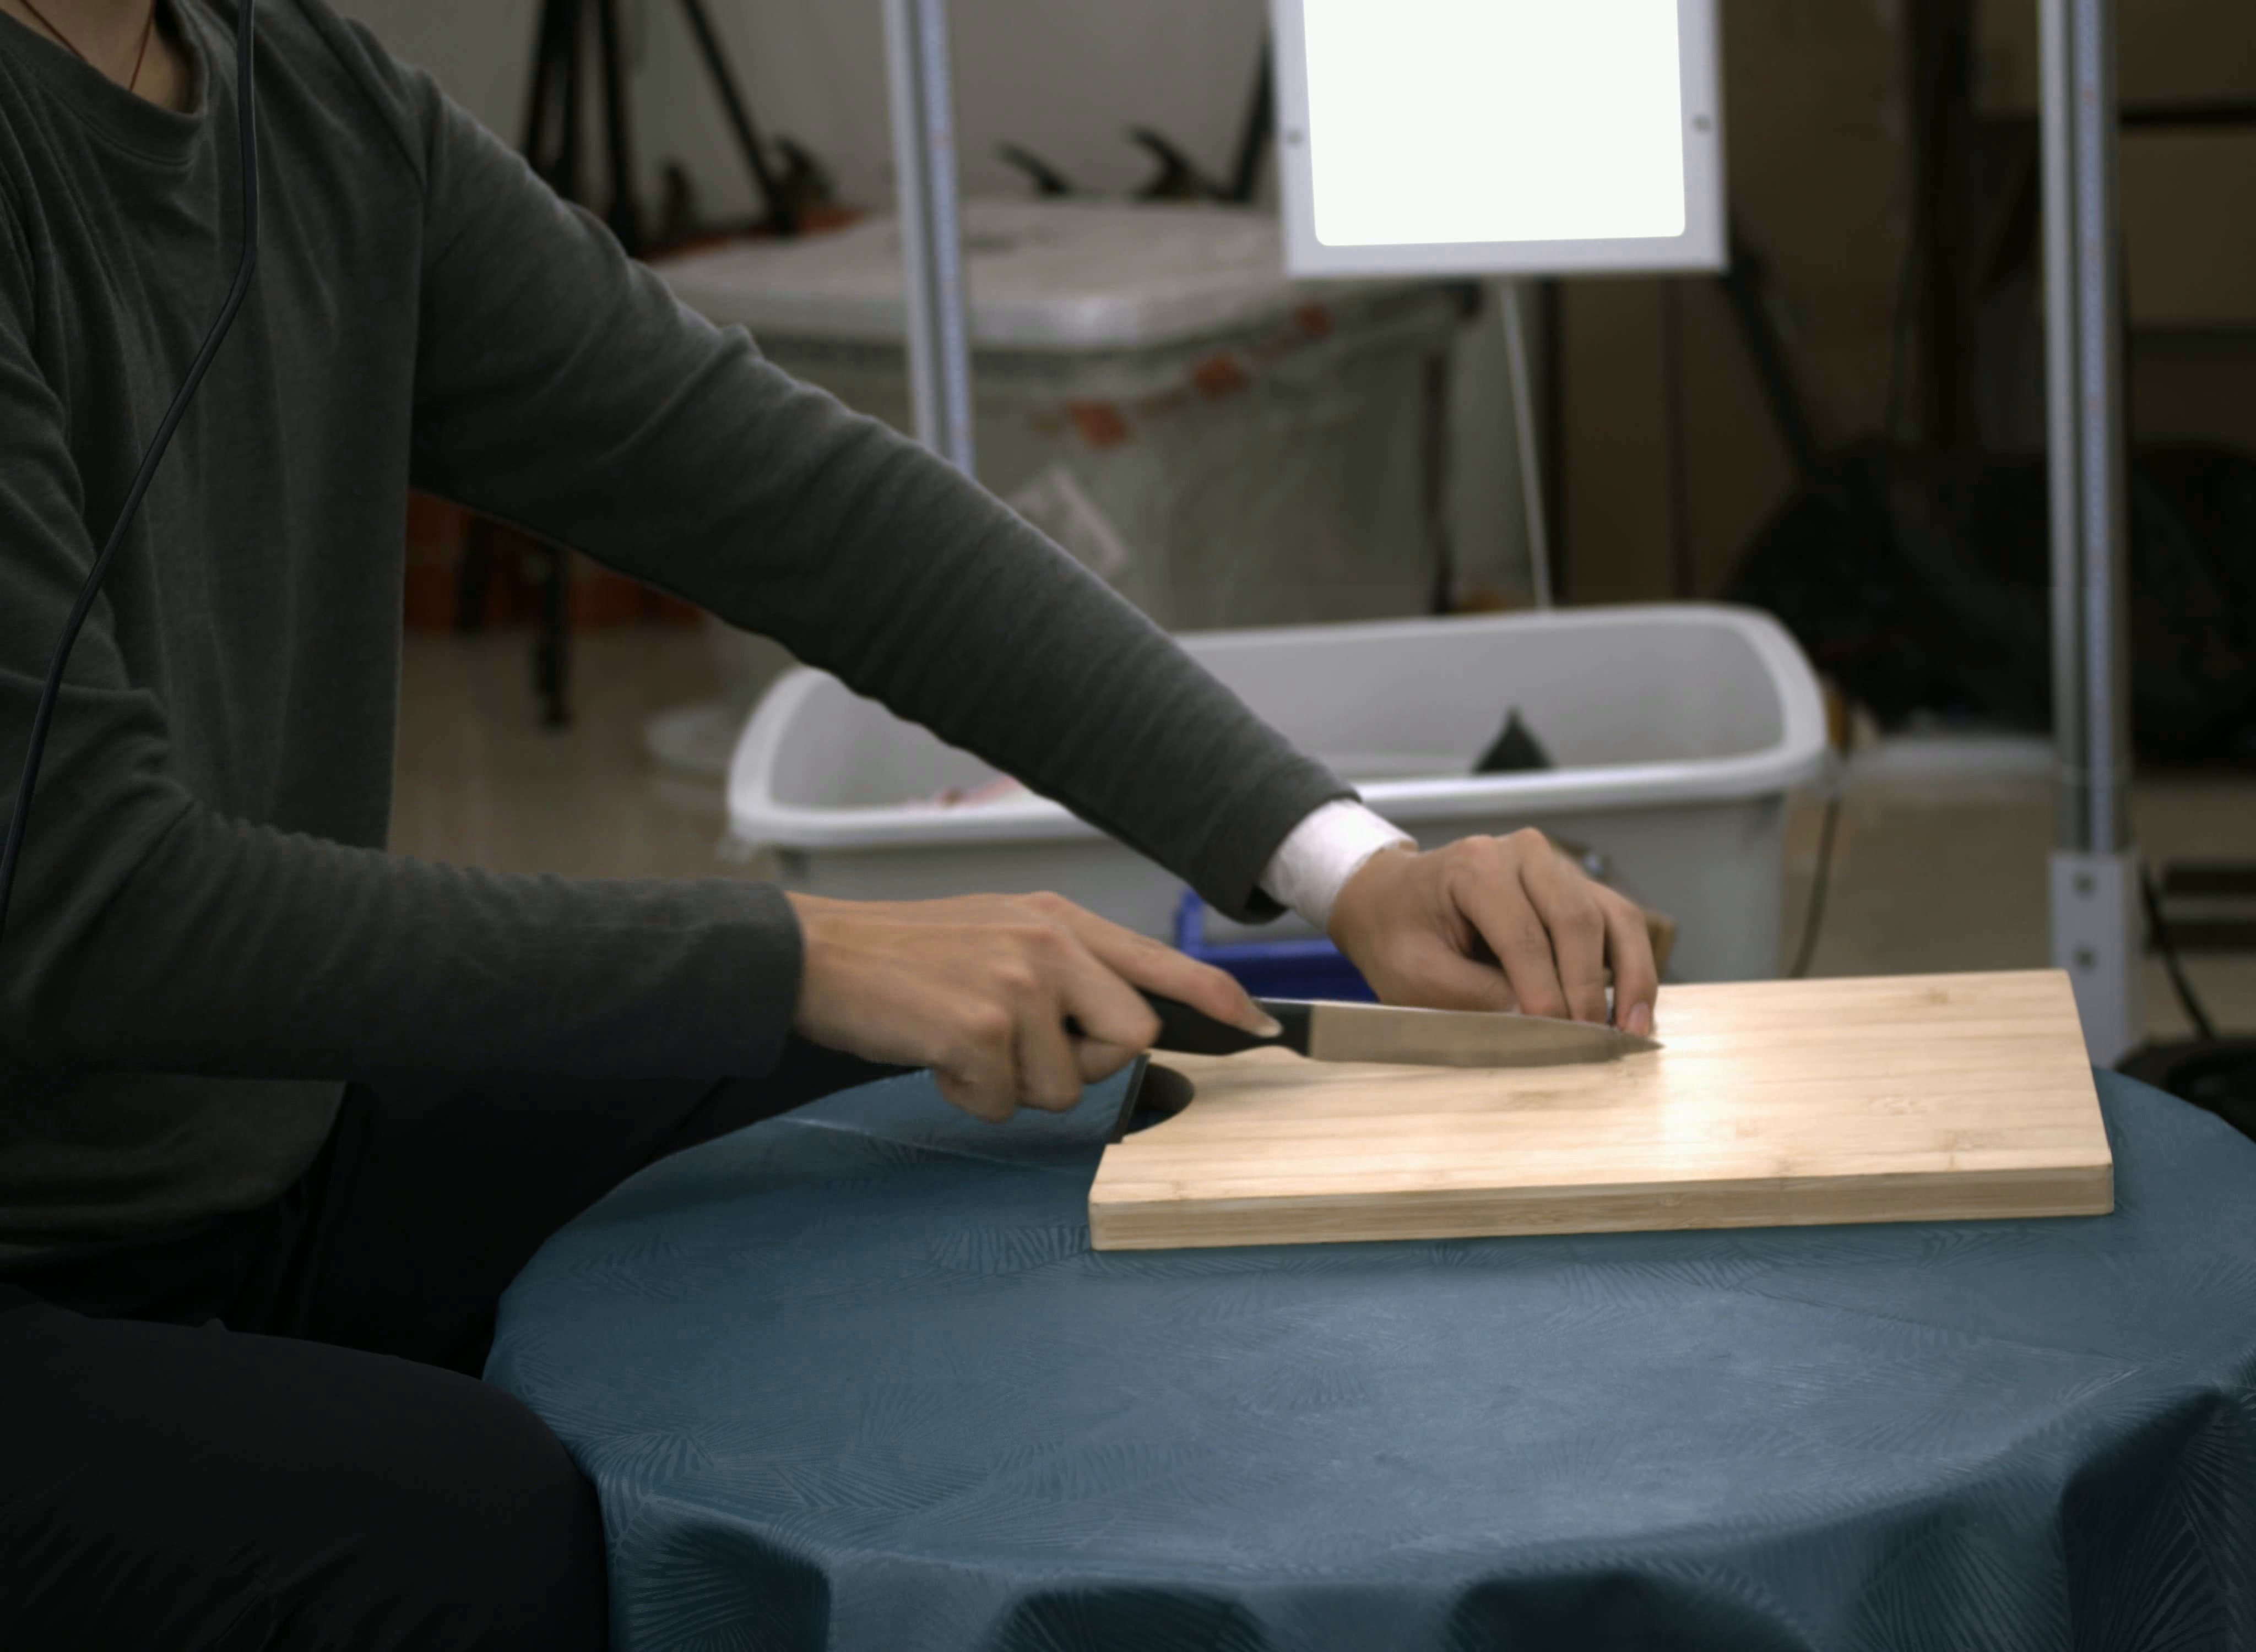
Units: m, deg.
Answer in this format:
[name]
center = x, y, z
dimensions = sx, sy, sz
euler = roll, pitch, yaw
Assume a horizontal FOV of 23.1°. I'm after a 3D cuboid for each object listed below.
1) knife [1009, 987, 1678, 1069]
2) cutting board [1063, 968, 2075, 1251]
[knife]
center = 0.077, 0.072, 1.947
dimensions = 0.238, 0.024, 0.016
euler = 3, 23, 5
[cutting board]
center = 0.162, 0.098, 1.928
dimensions = 0.350, 0.023, 0.249
euler = -3, 13, 8
